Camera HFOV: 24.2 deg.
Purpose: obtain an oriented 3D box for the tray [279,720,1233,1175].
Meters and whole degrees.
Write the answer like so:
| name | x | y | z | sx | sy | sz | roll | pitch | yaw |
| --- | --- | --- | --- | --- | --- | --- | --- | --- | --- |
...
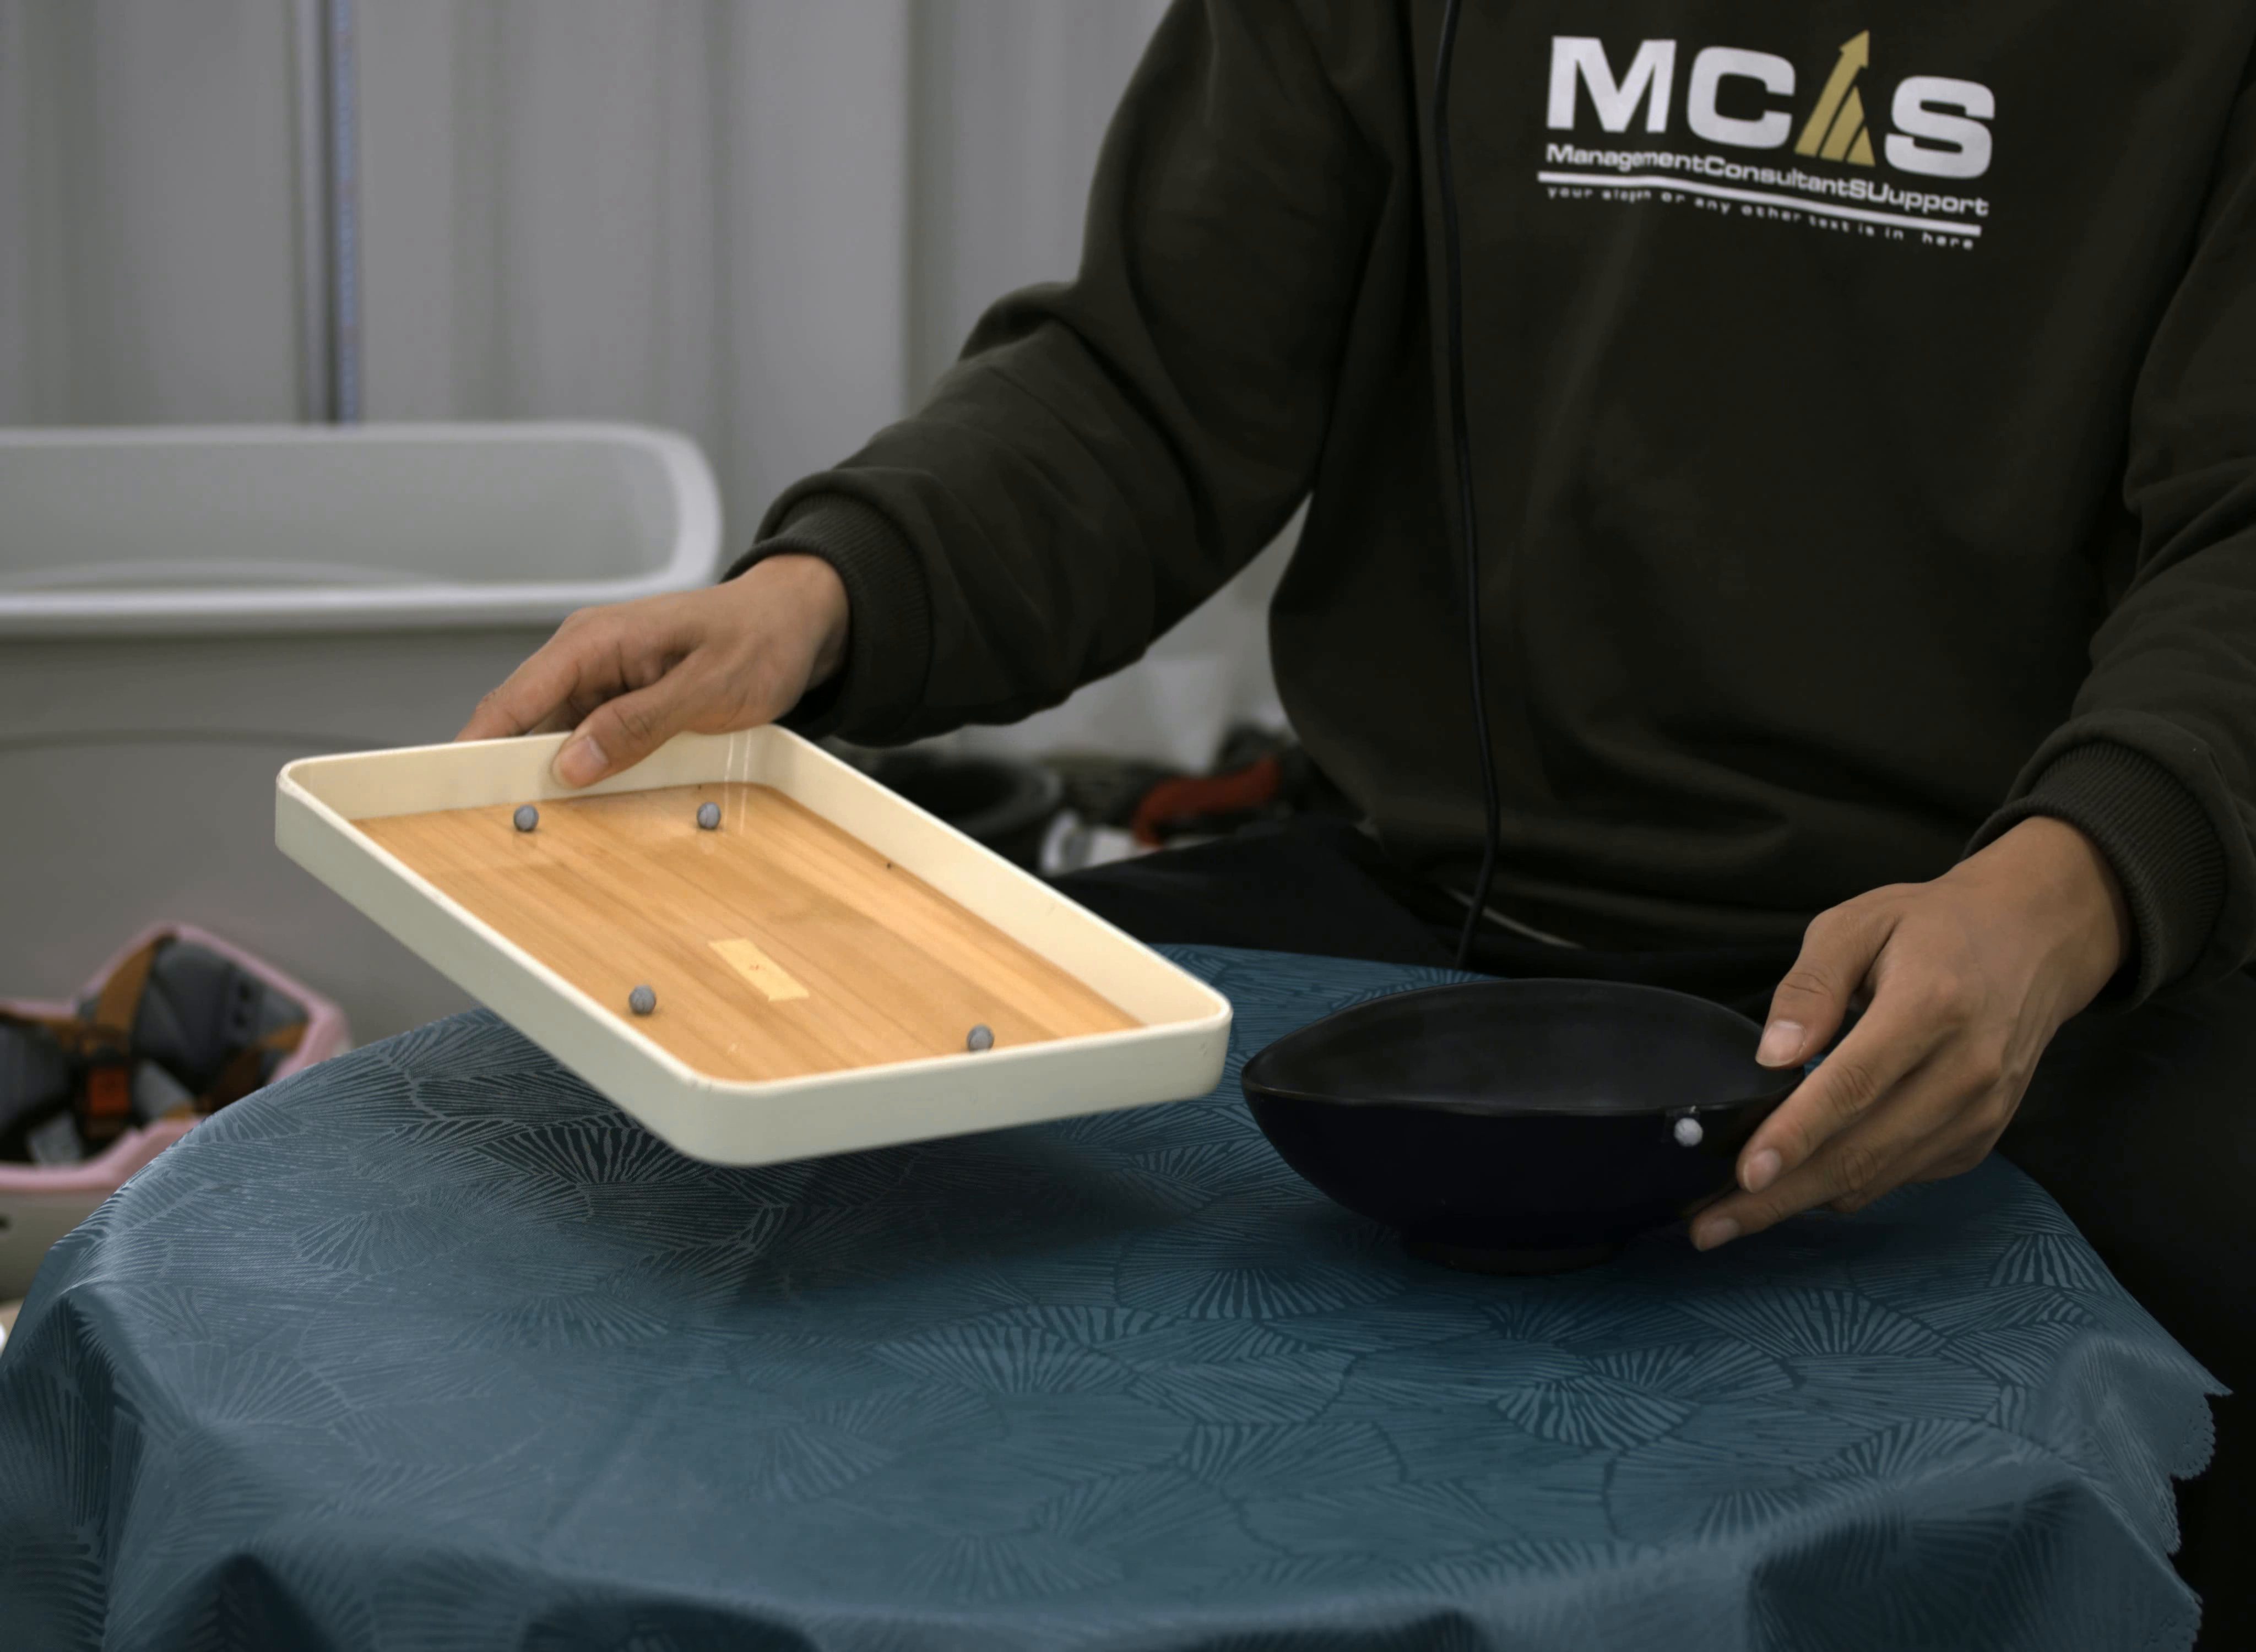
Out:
| name | x | y | z | sx | sy | sz | roll | pitch | yaw |
| --- | --- | --- | --- | --- | --- | --- | --- | --- | --- |
| tray | -0.122 | 0.033 | 1.653 | 0.192 | 0.027 | 0.296 | -7 | 24 | -34 |

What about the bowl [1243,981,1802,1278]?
| name | x | y | z | sx | sy | sz | roll | pitch | yaw |
| --- | --- | --- | --- | --- | --- | --- | --- | --- | --- |
| bowl | 0.117 | 0.095 | 1.582 | 0.169 | 0.067 | 0.137 | 1 | 14 | 12 |
